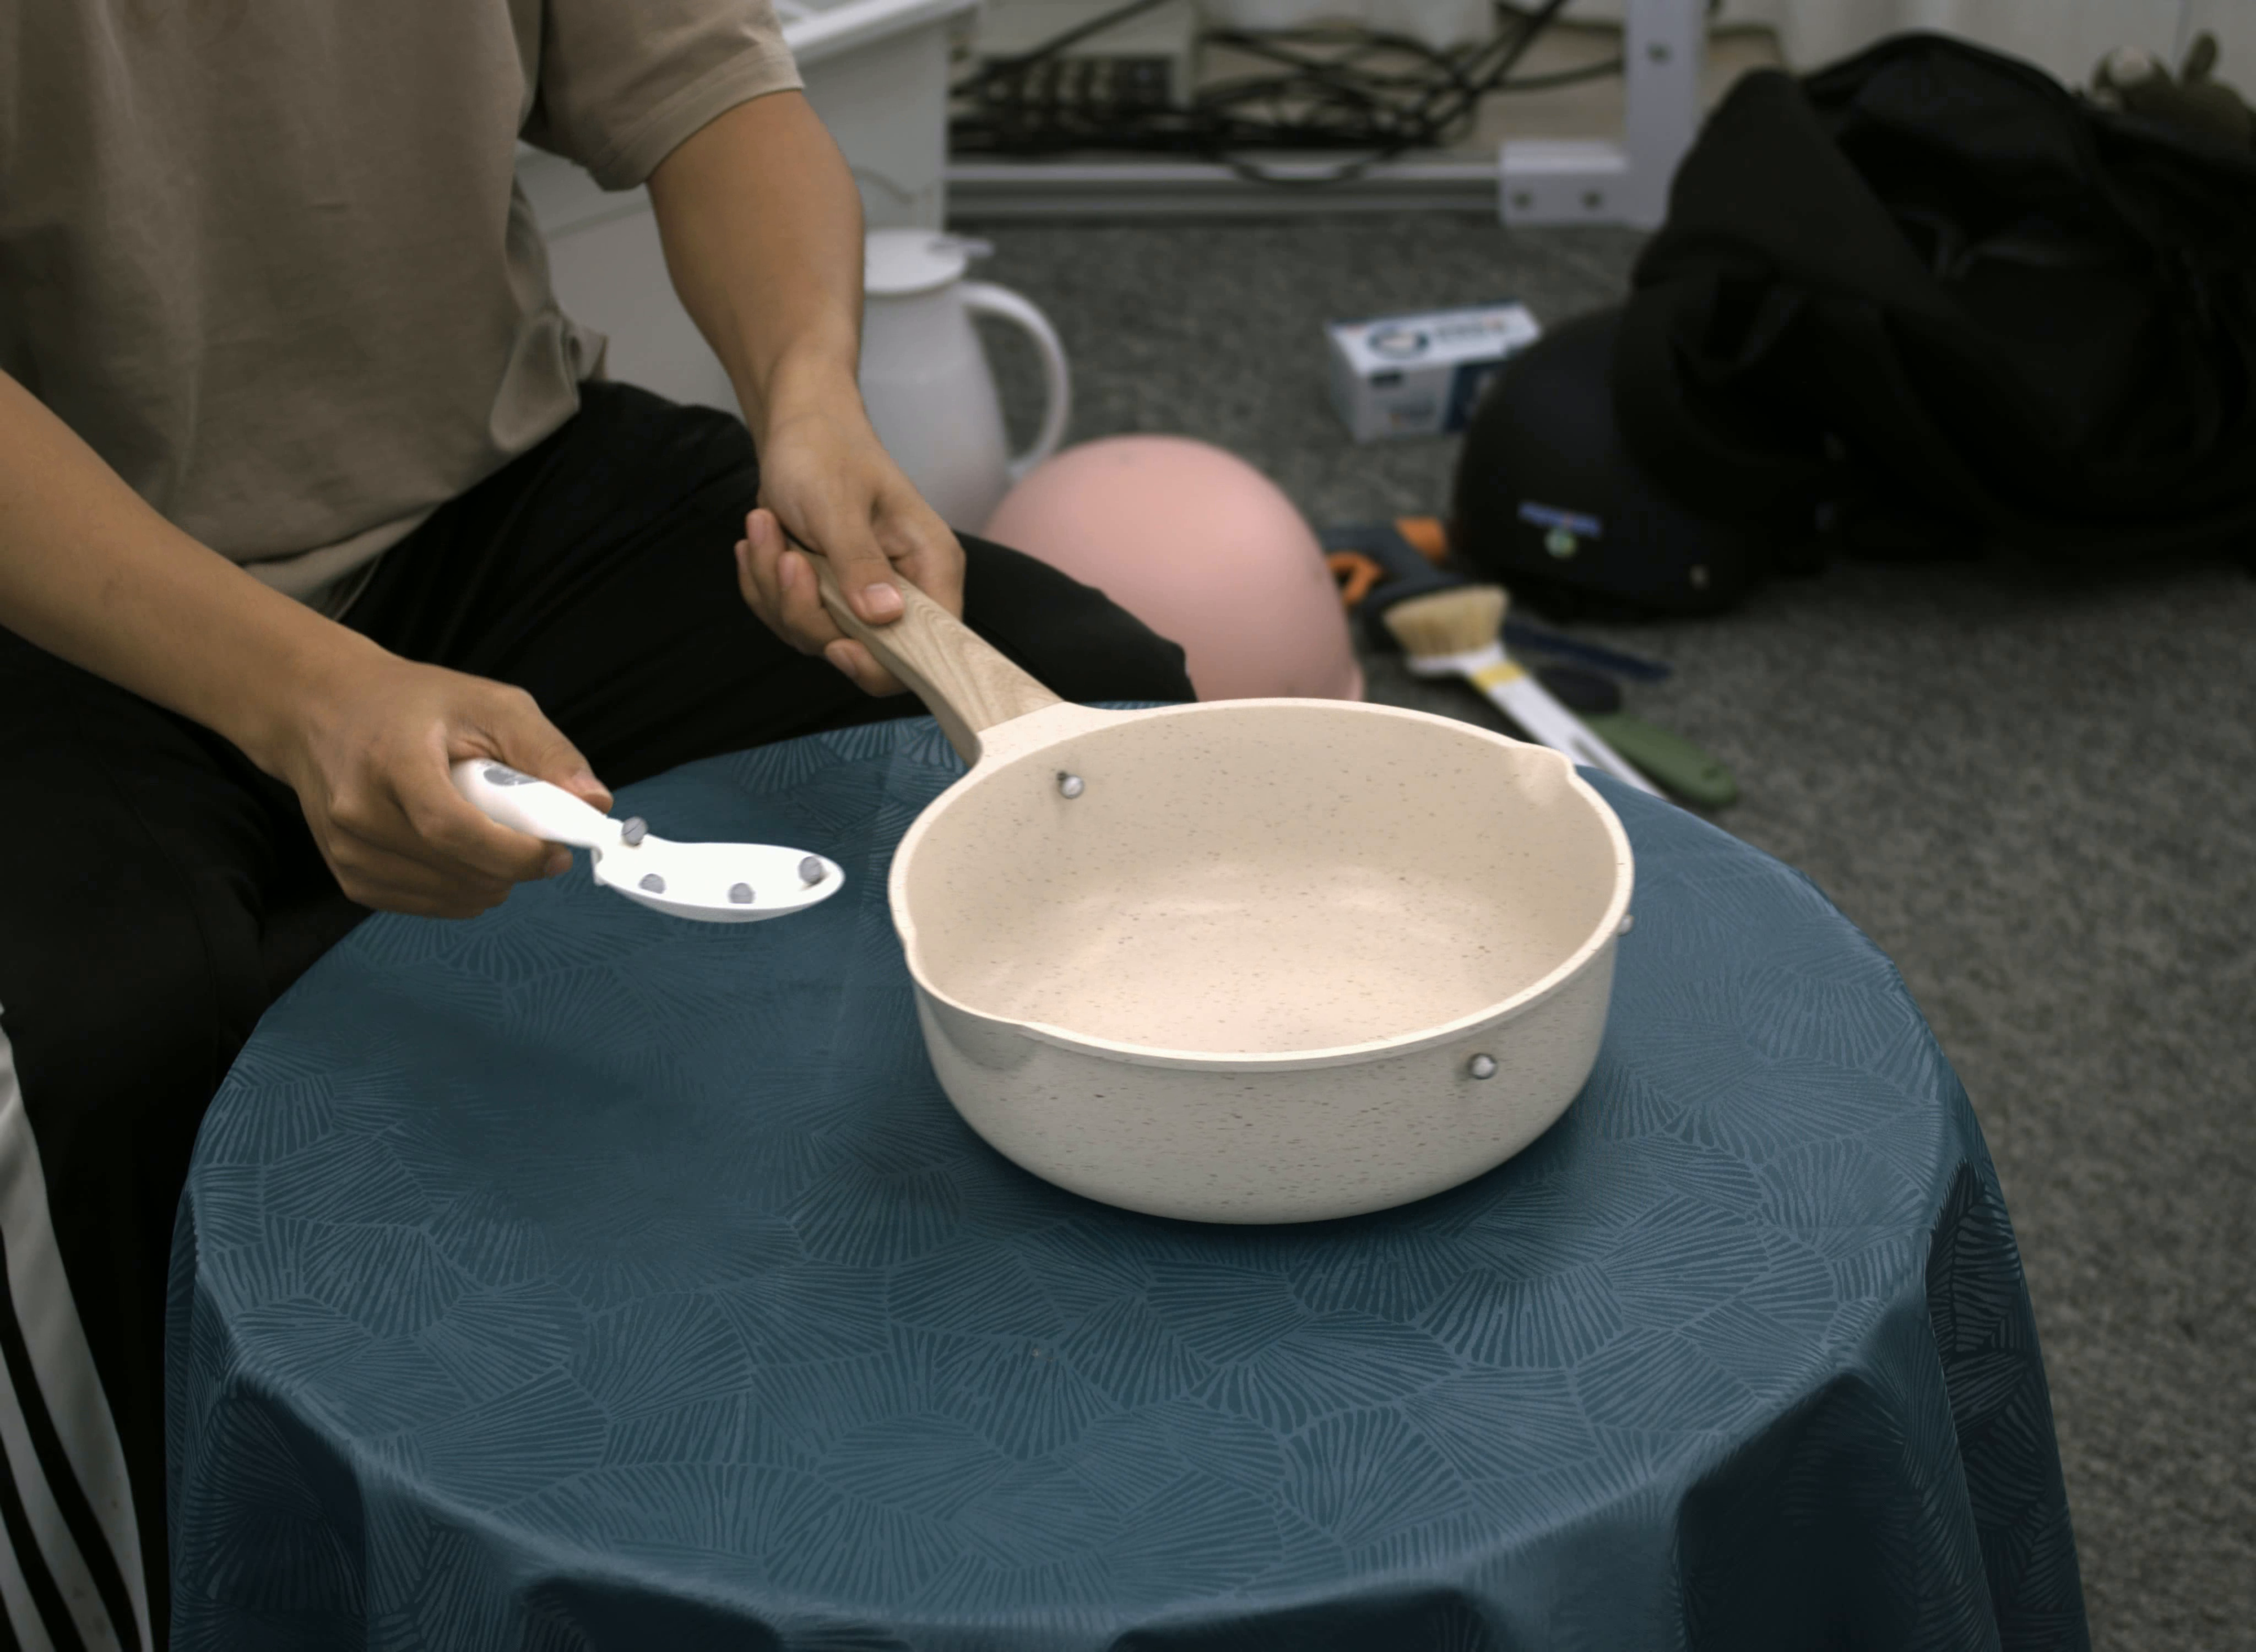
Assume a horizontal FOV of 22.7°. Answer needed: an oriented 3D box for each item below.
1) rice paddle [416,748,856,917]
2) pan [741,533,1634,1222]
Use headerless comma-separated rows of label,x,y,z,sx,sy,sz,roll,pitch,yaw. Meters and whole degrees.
rice paddle,-0.162,0.004,1.820,0.069,0.029,0.204,-14,18,-38
pan,-0.006,0.010,1.977,0.265,0.101,0.435,-22,33,-29
